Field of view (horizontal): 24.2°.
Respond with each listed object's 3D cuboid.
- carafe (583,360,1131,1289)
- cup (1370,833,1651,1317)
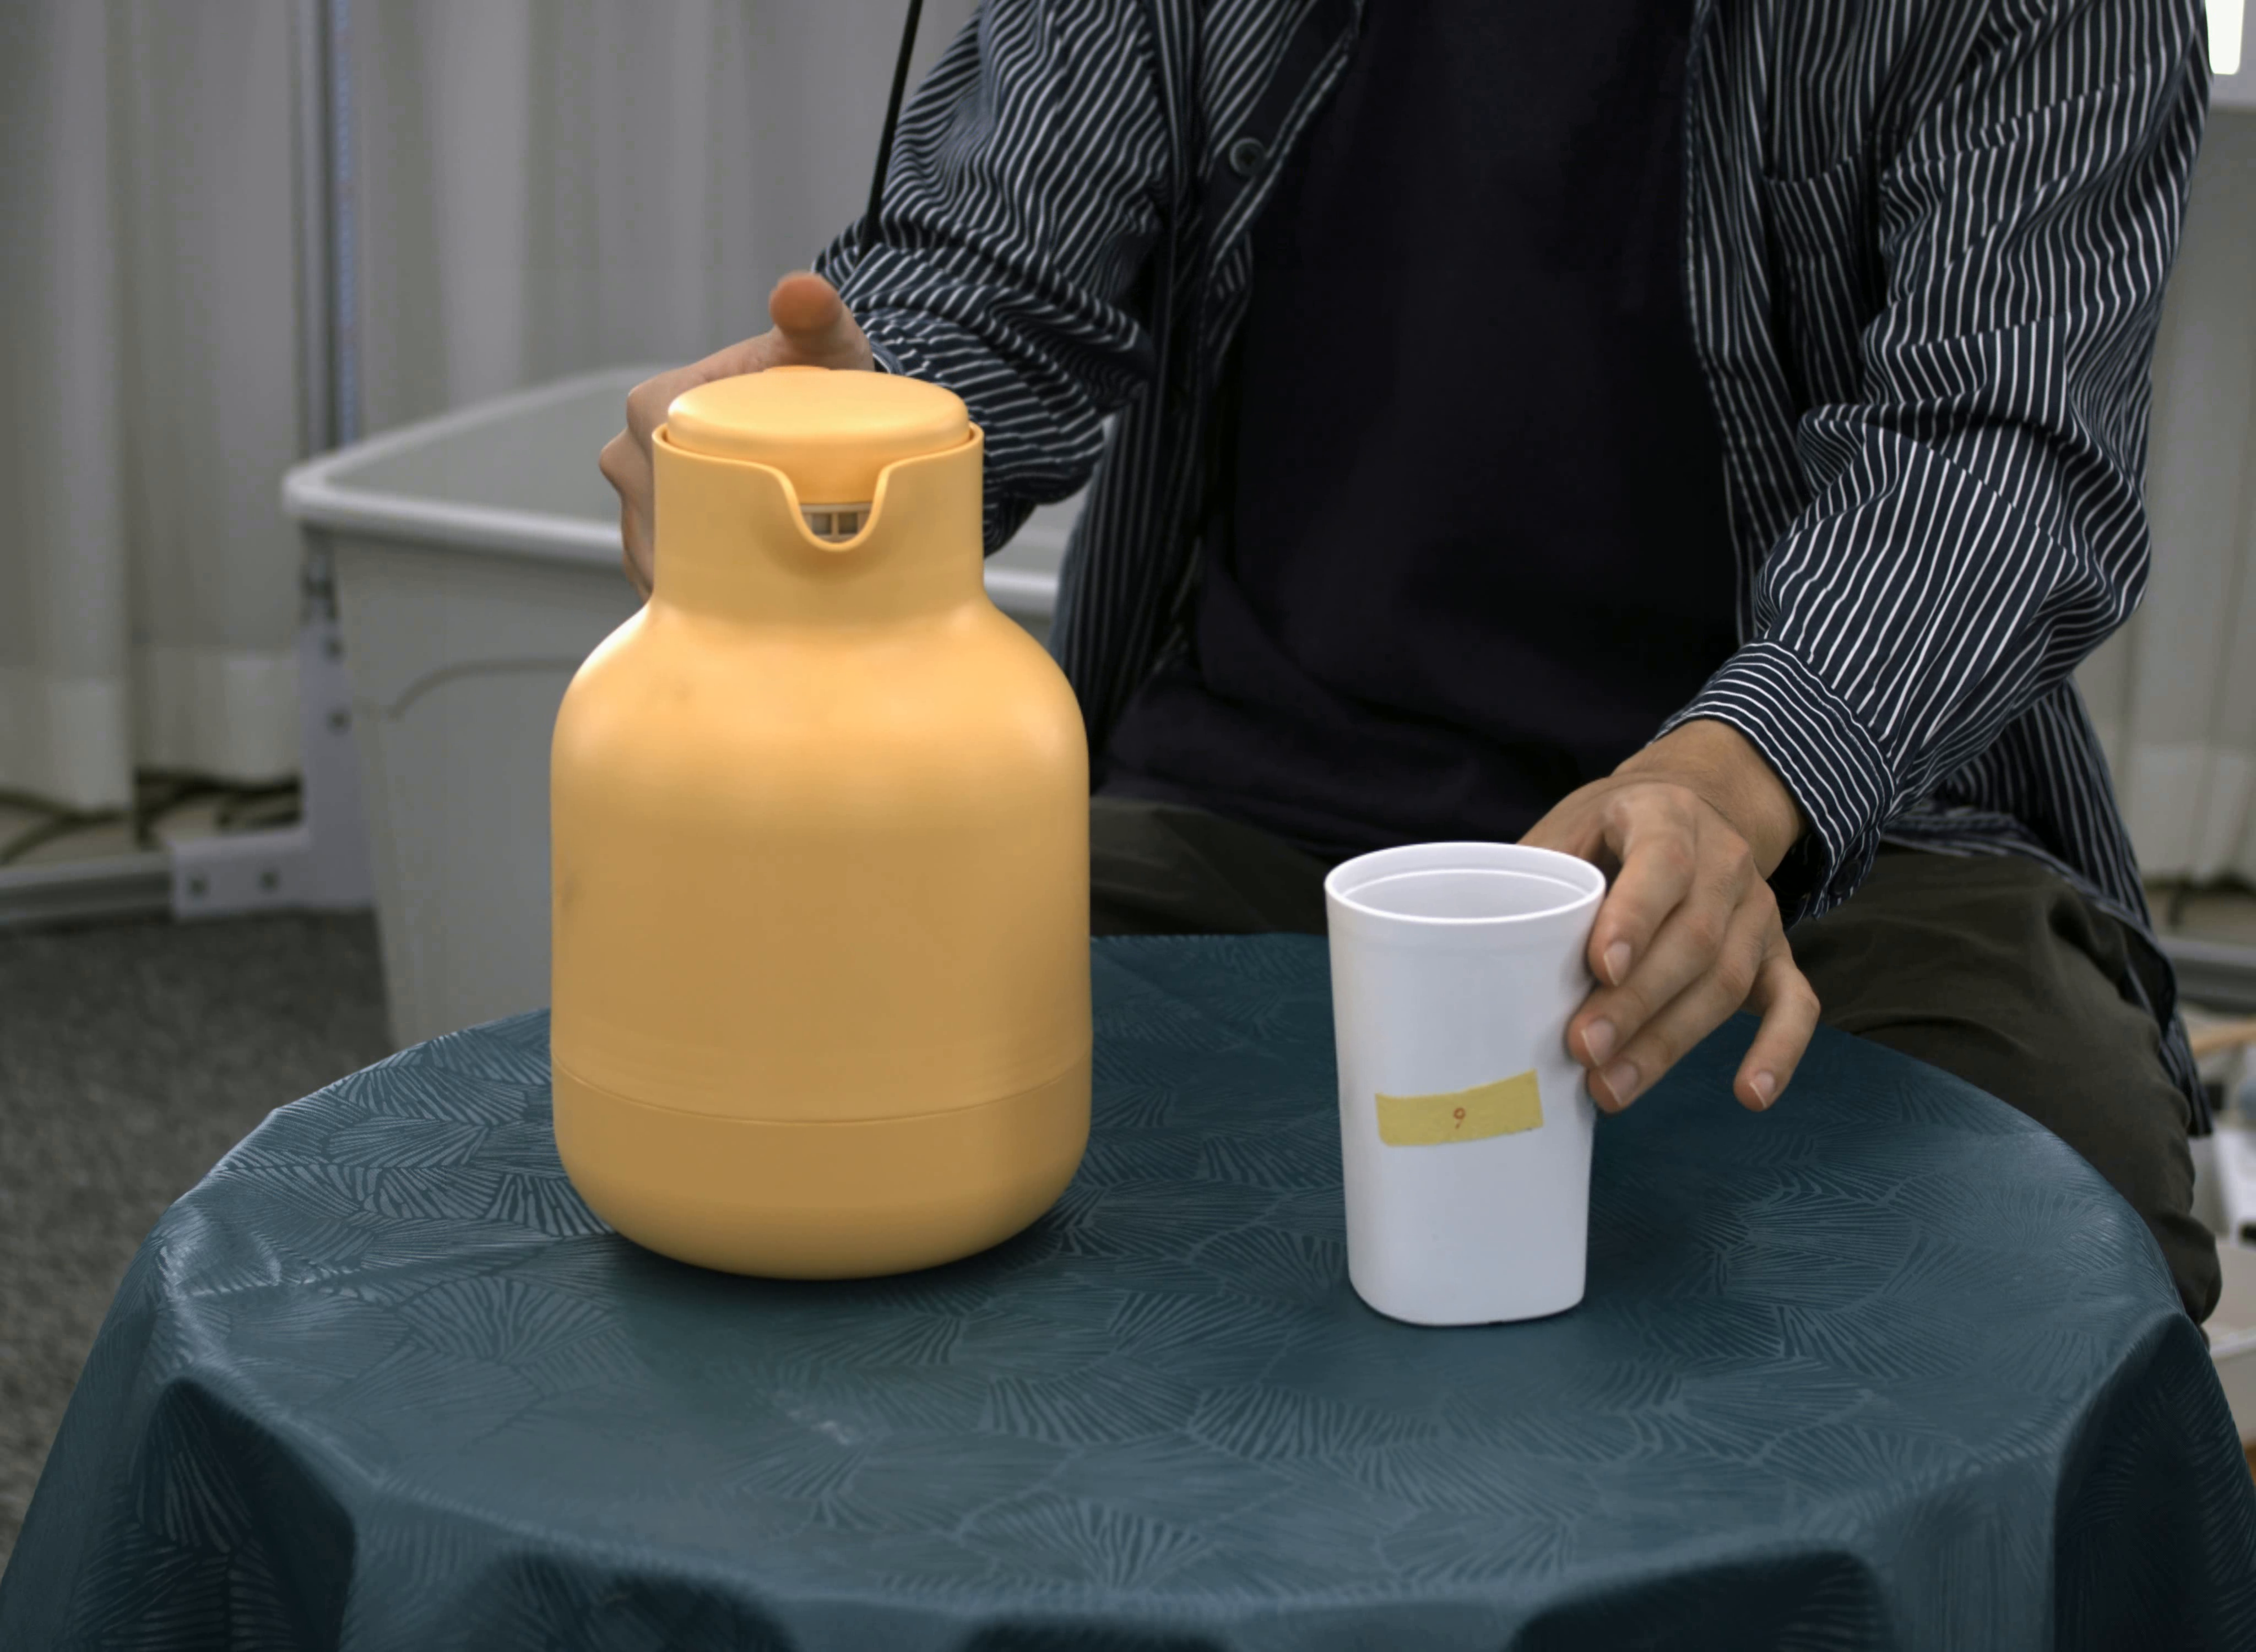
[{"bbox_3d":[-0.082,-0.009,1.574,0.163,0.262,0.200,-2,16,-10],"label":"carafe"},{"bbox_3d":[0.111,0.073,1.530,0.081,0.126,0.081,-1,15,1],"label":"cup"}]
